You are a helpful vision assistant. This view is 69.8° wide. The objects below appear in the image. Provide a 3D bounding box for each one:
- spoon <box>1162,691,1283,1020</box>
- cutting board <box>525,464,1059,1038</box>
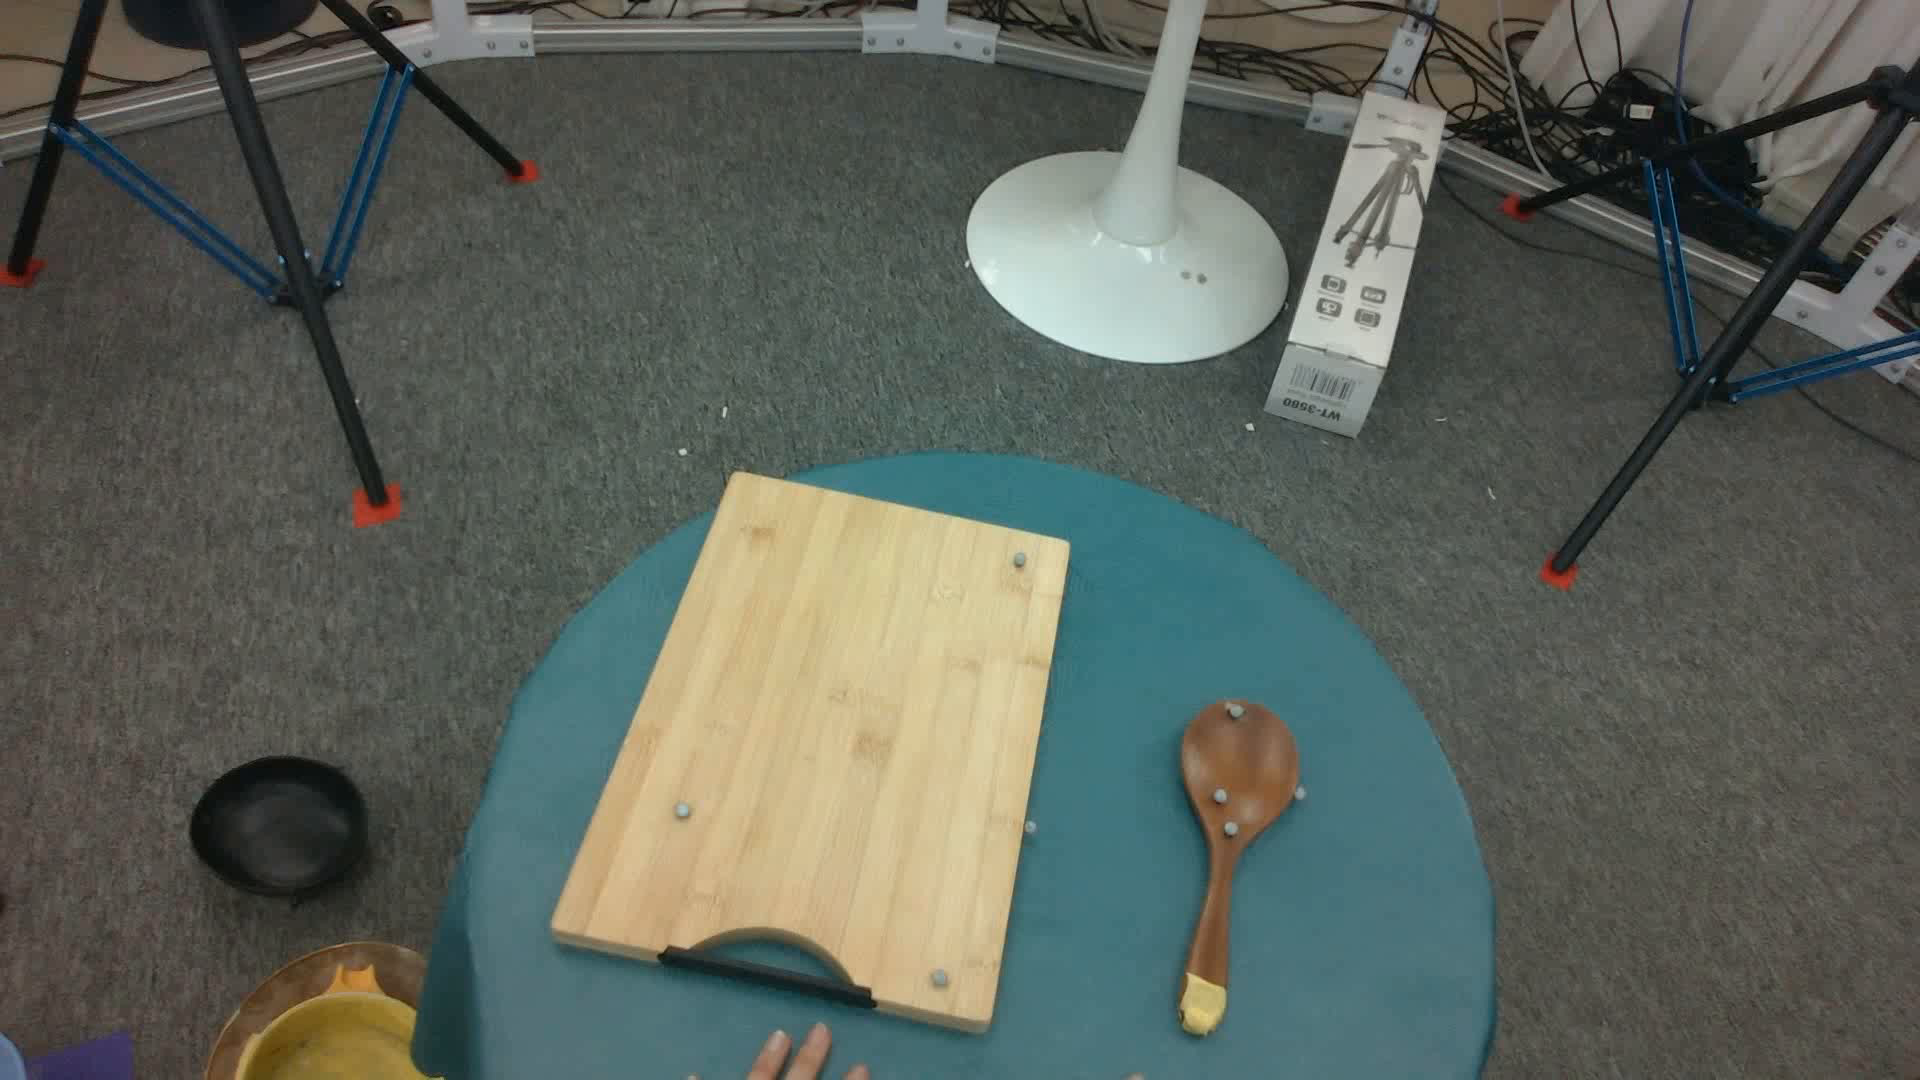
[{"bbox_3d":[0.147,0.180,0.815,0.075,0.017,0.217,17,50,3],"label":"spoon"},{"bbox_3d":[-0.082,0.107,0.840,0.251,0.023,0.350,11,50,1],"label":"cutting board"}]
